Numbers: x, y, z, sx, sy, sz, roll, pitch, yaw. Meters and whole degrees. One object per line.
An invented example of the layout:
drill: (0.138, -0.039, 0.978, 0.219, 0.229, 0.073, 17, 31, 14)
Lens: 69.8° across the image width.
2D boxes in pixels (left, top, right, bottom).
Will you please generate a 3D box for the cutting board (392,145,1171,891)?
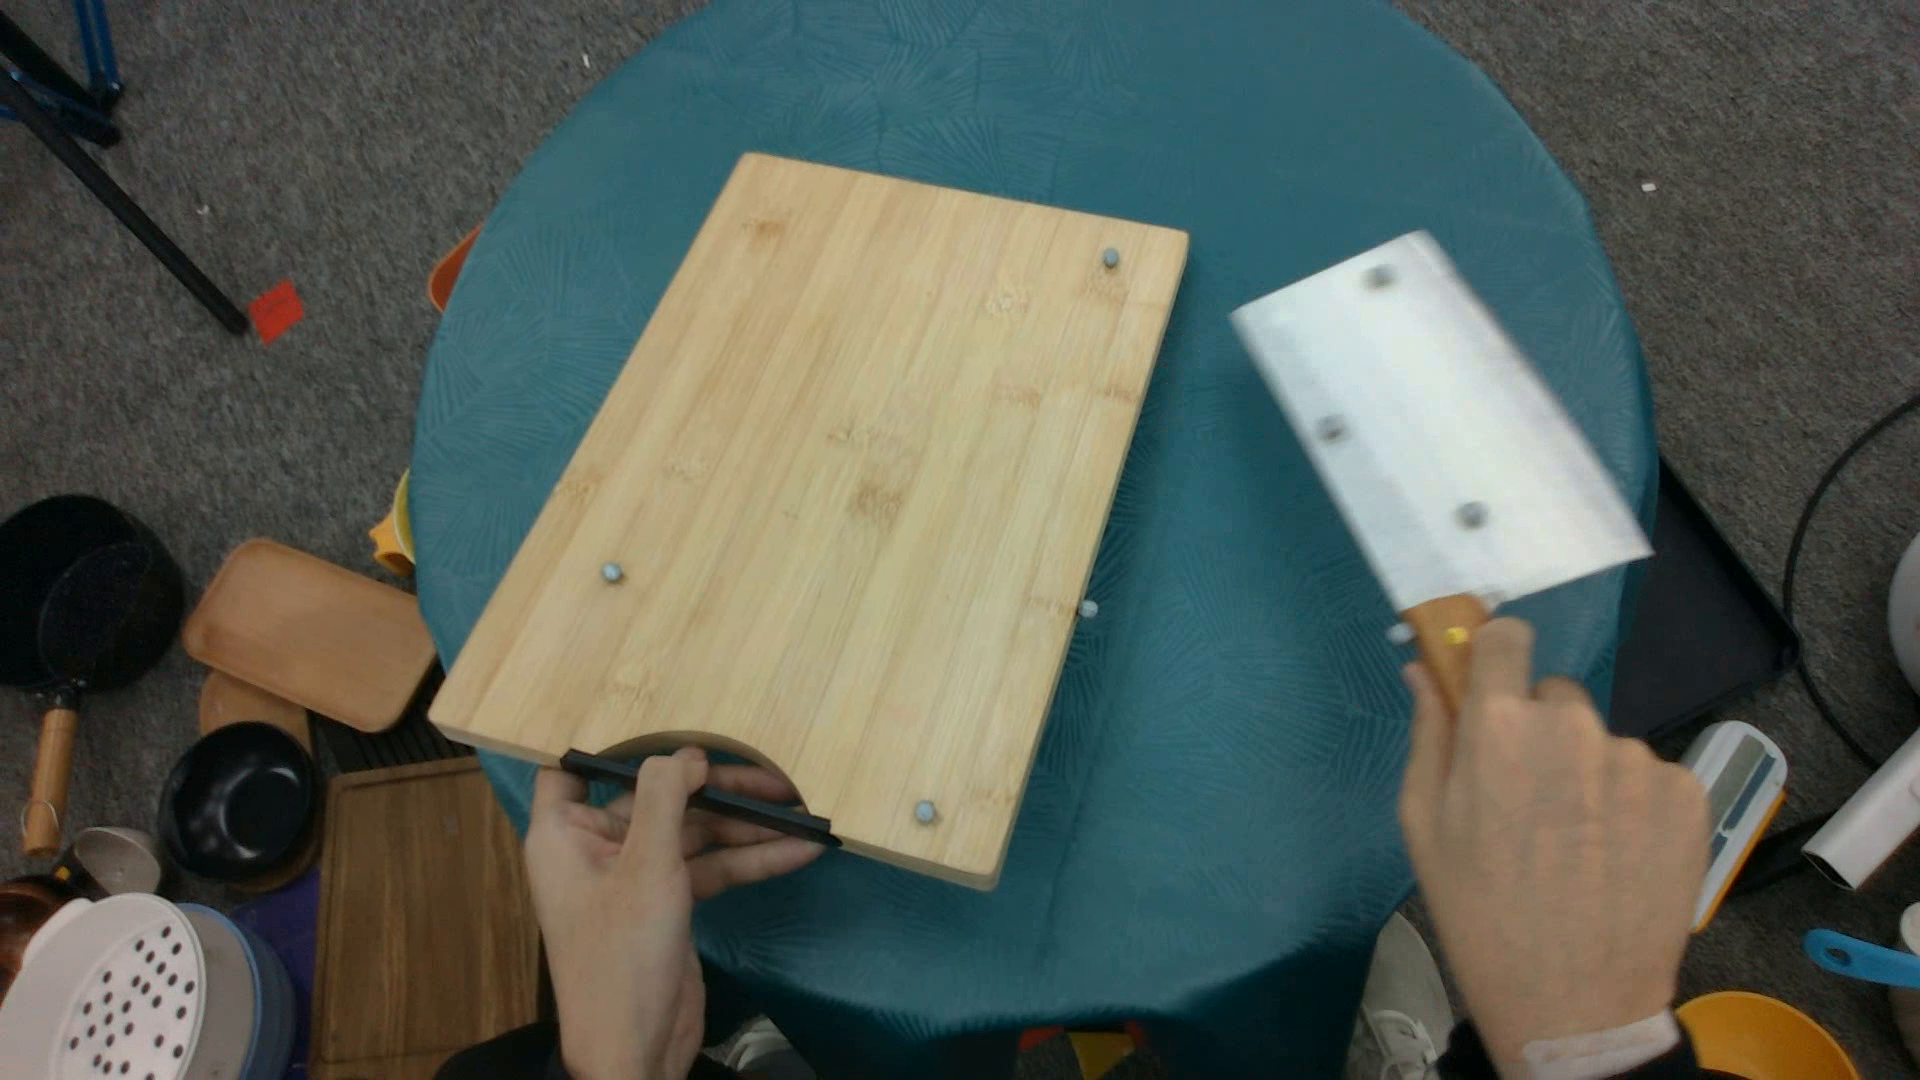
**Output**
cutting board: (-0.061, -0.037, 0.621, 0.250, 0.023, 0.350, 12, 59, 11)

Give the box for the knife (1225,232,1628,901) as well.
knife: (0.191, -0.015, 0.530, 0.093, 0.021, 0.307, -21, 51, 8)
